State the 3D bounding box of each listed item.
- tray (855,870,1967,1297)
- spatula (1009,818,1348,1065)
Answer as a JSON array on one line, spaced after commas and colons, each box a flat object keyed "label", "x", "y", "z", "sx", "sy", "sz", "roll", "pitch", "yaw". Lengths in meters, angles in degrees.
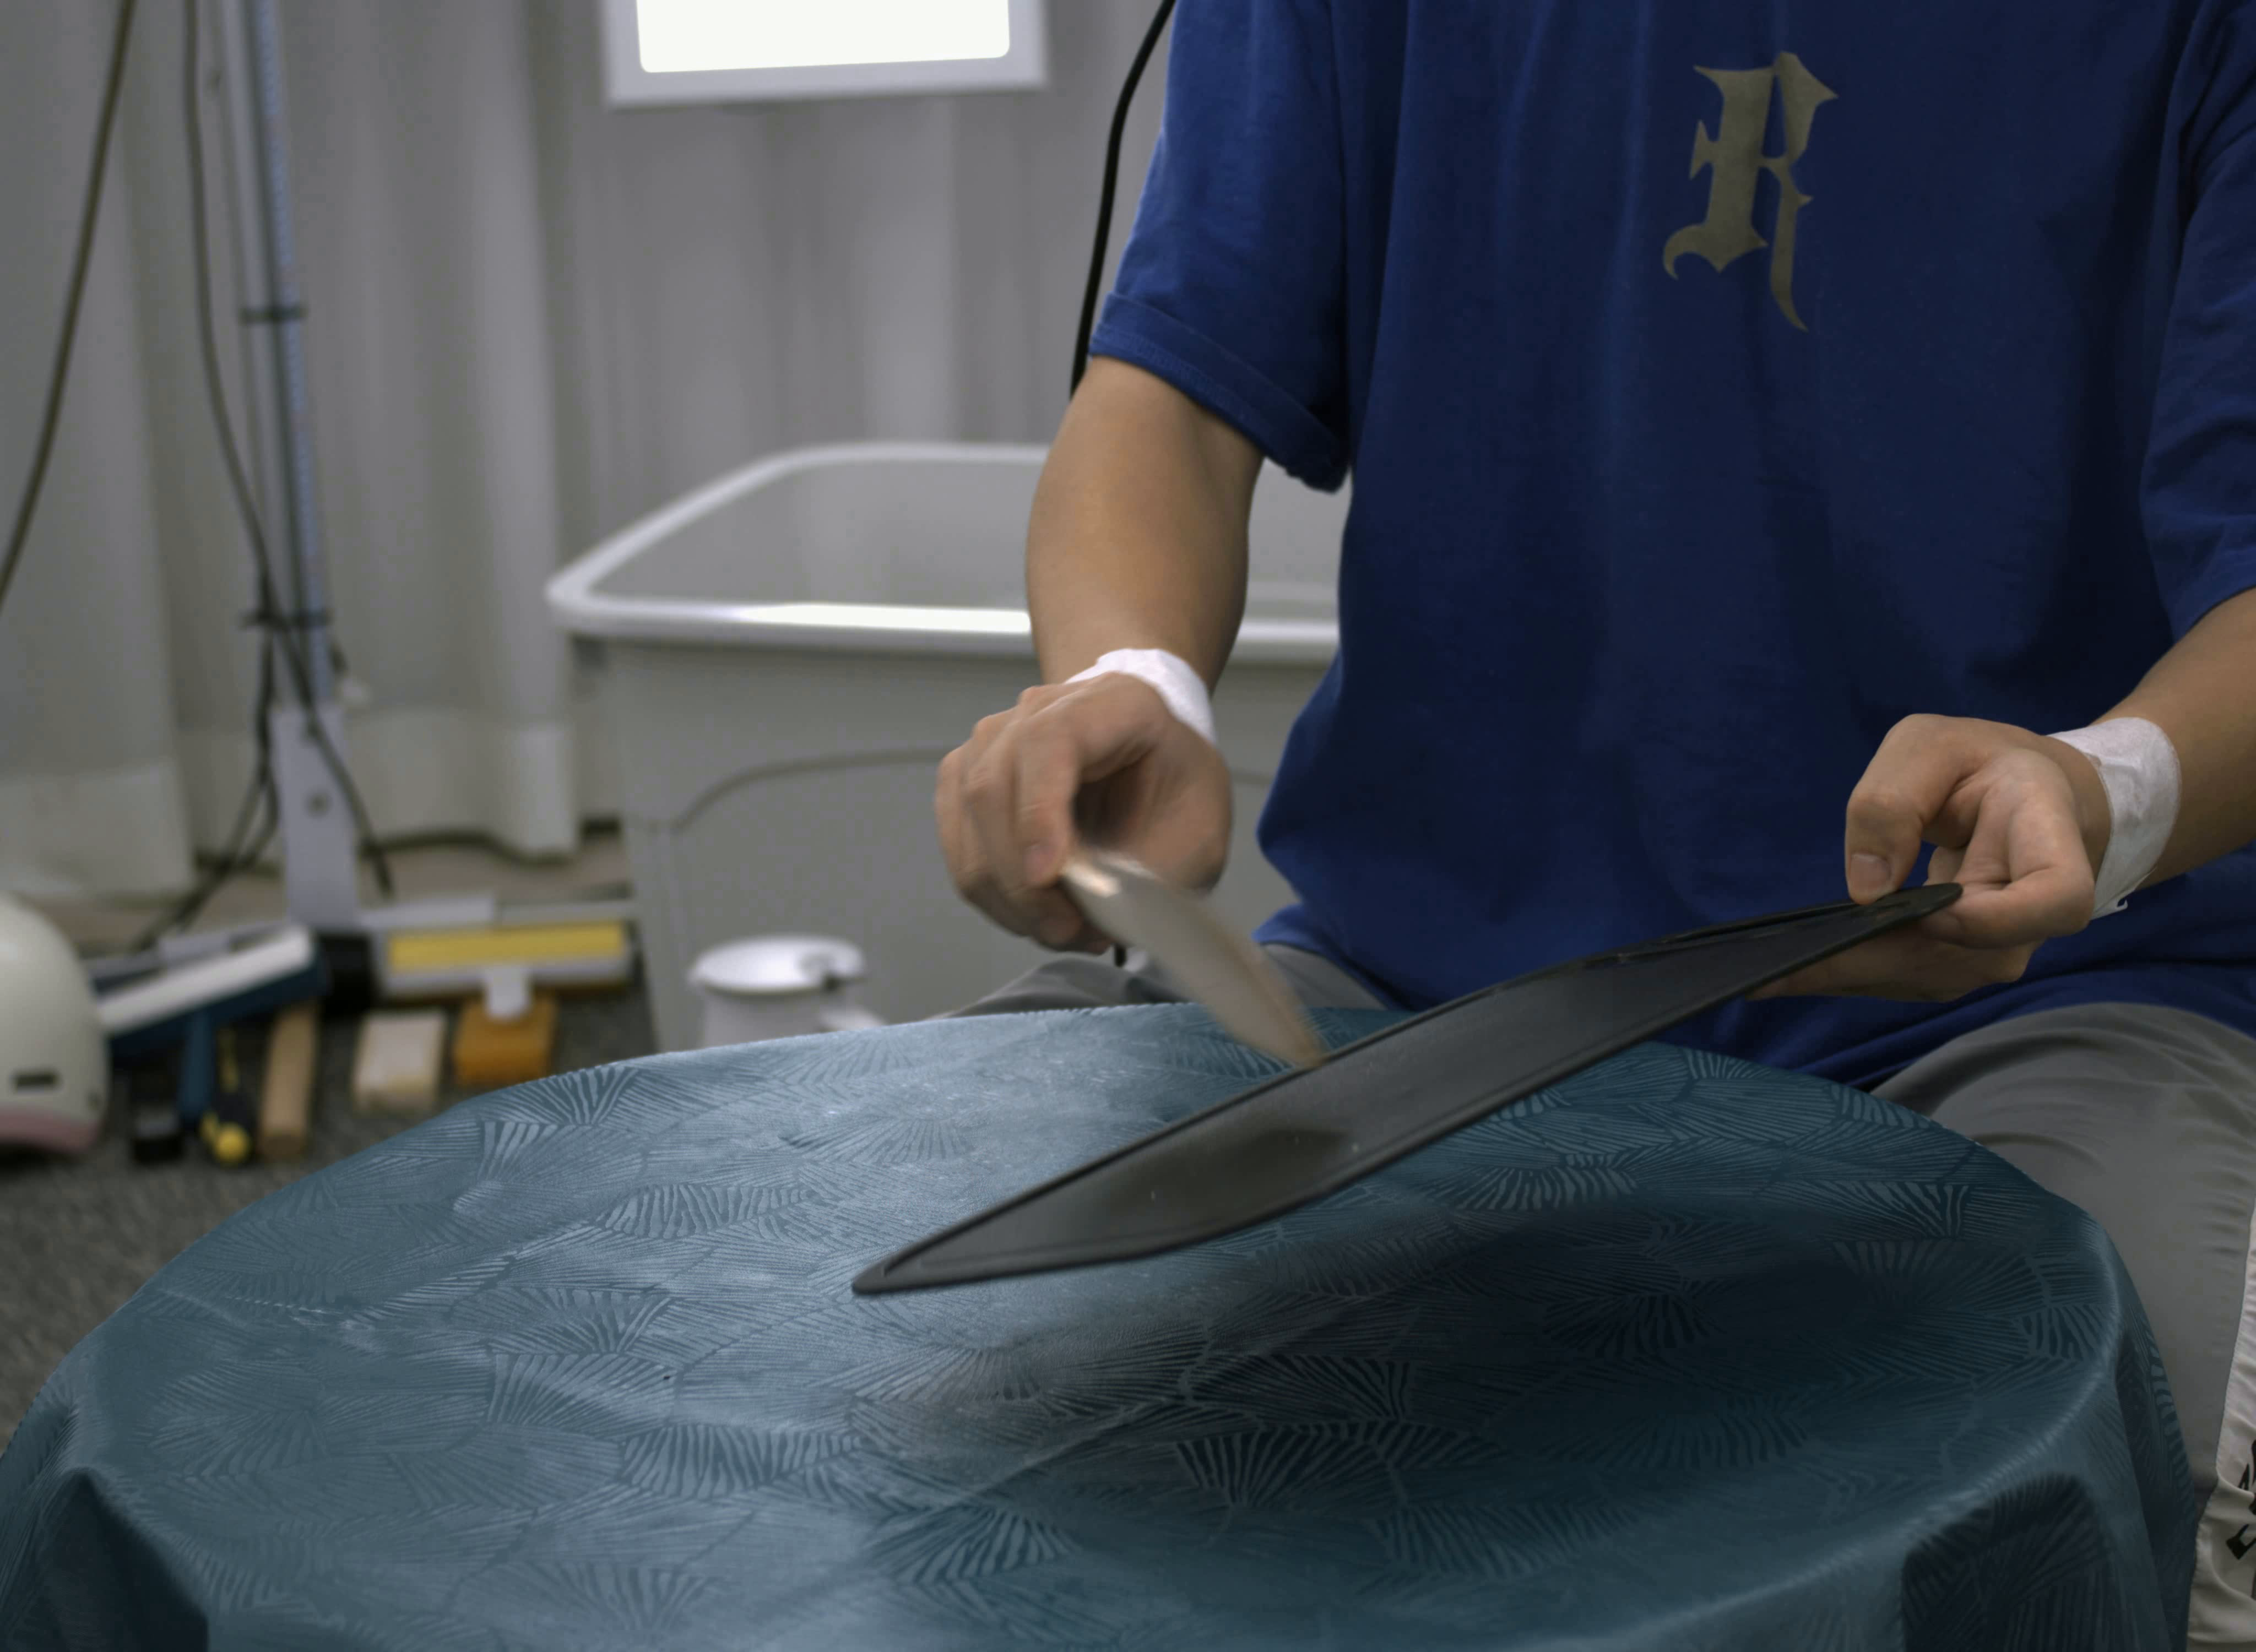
[{"label": "tray", "x": 0.086, "y": 0.069, "z": 1.547, "sx": 0.325, "sy": 0.010, "sz": 0.211, "roll": -22, "pitch": 4, "yaw": -35}, {"label": "spatula", "x": 0.003, "y": 0.023, "z": 1.639, "sx": 0.010, "sy": 0.072, "sz": 0.294, "roll": -38, "pitch": 14, "yaw": -7}]
